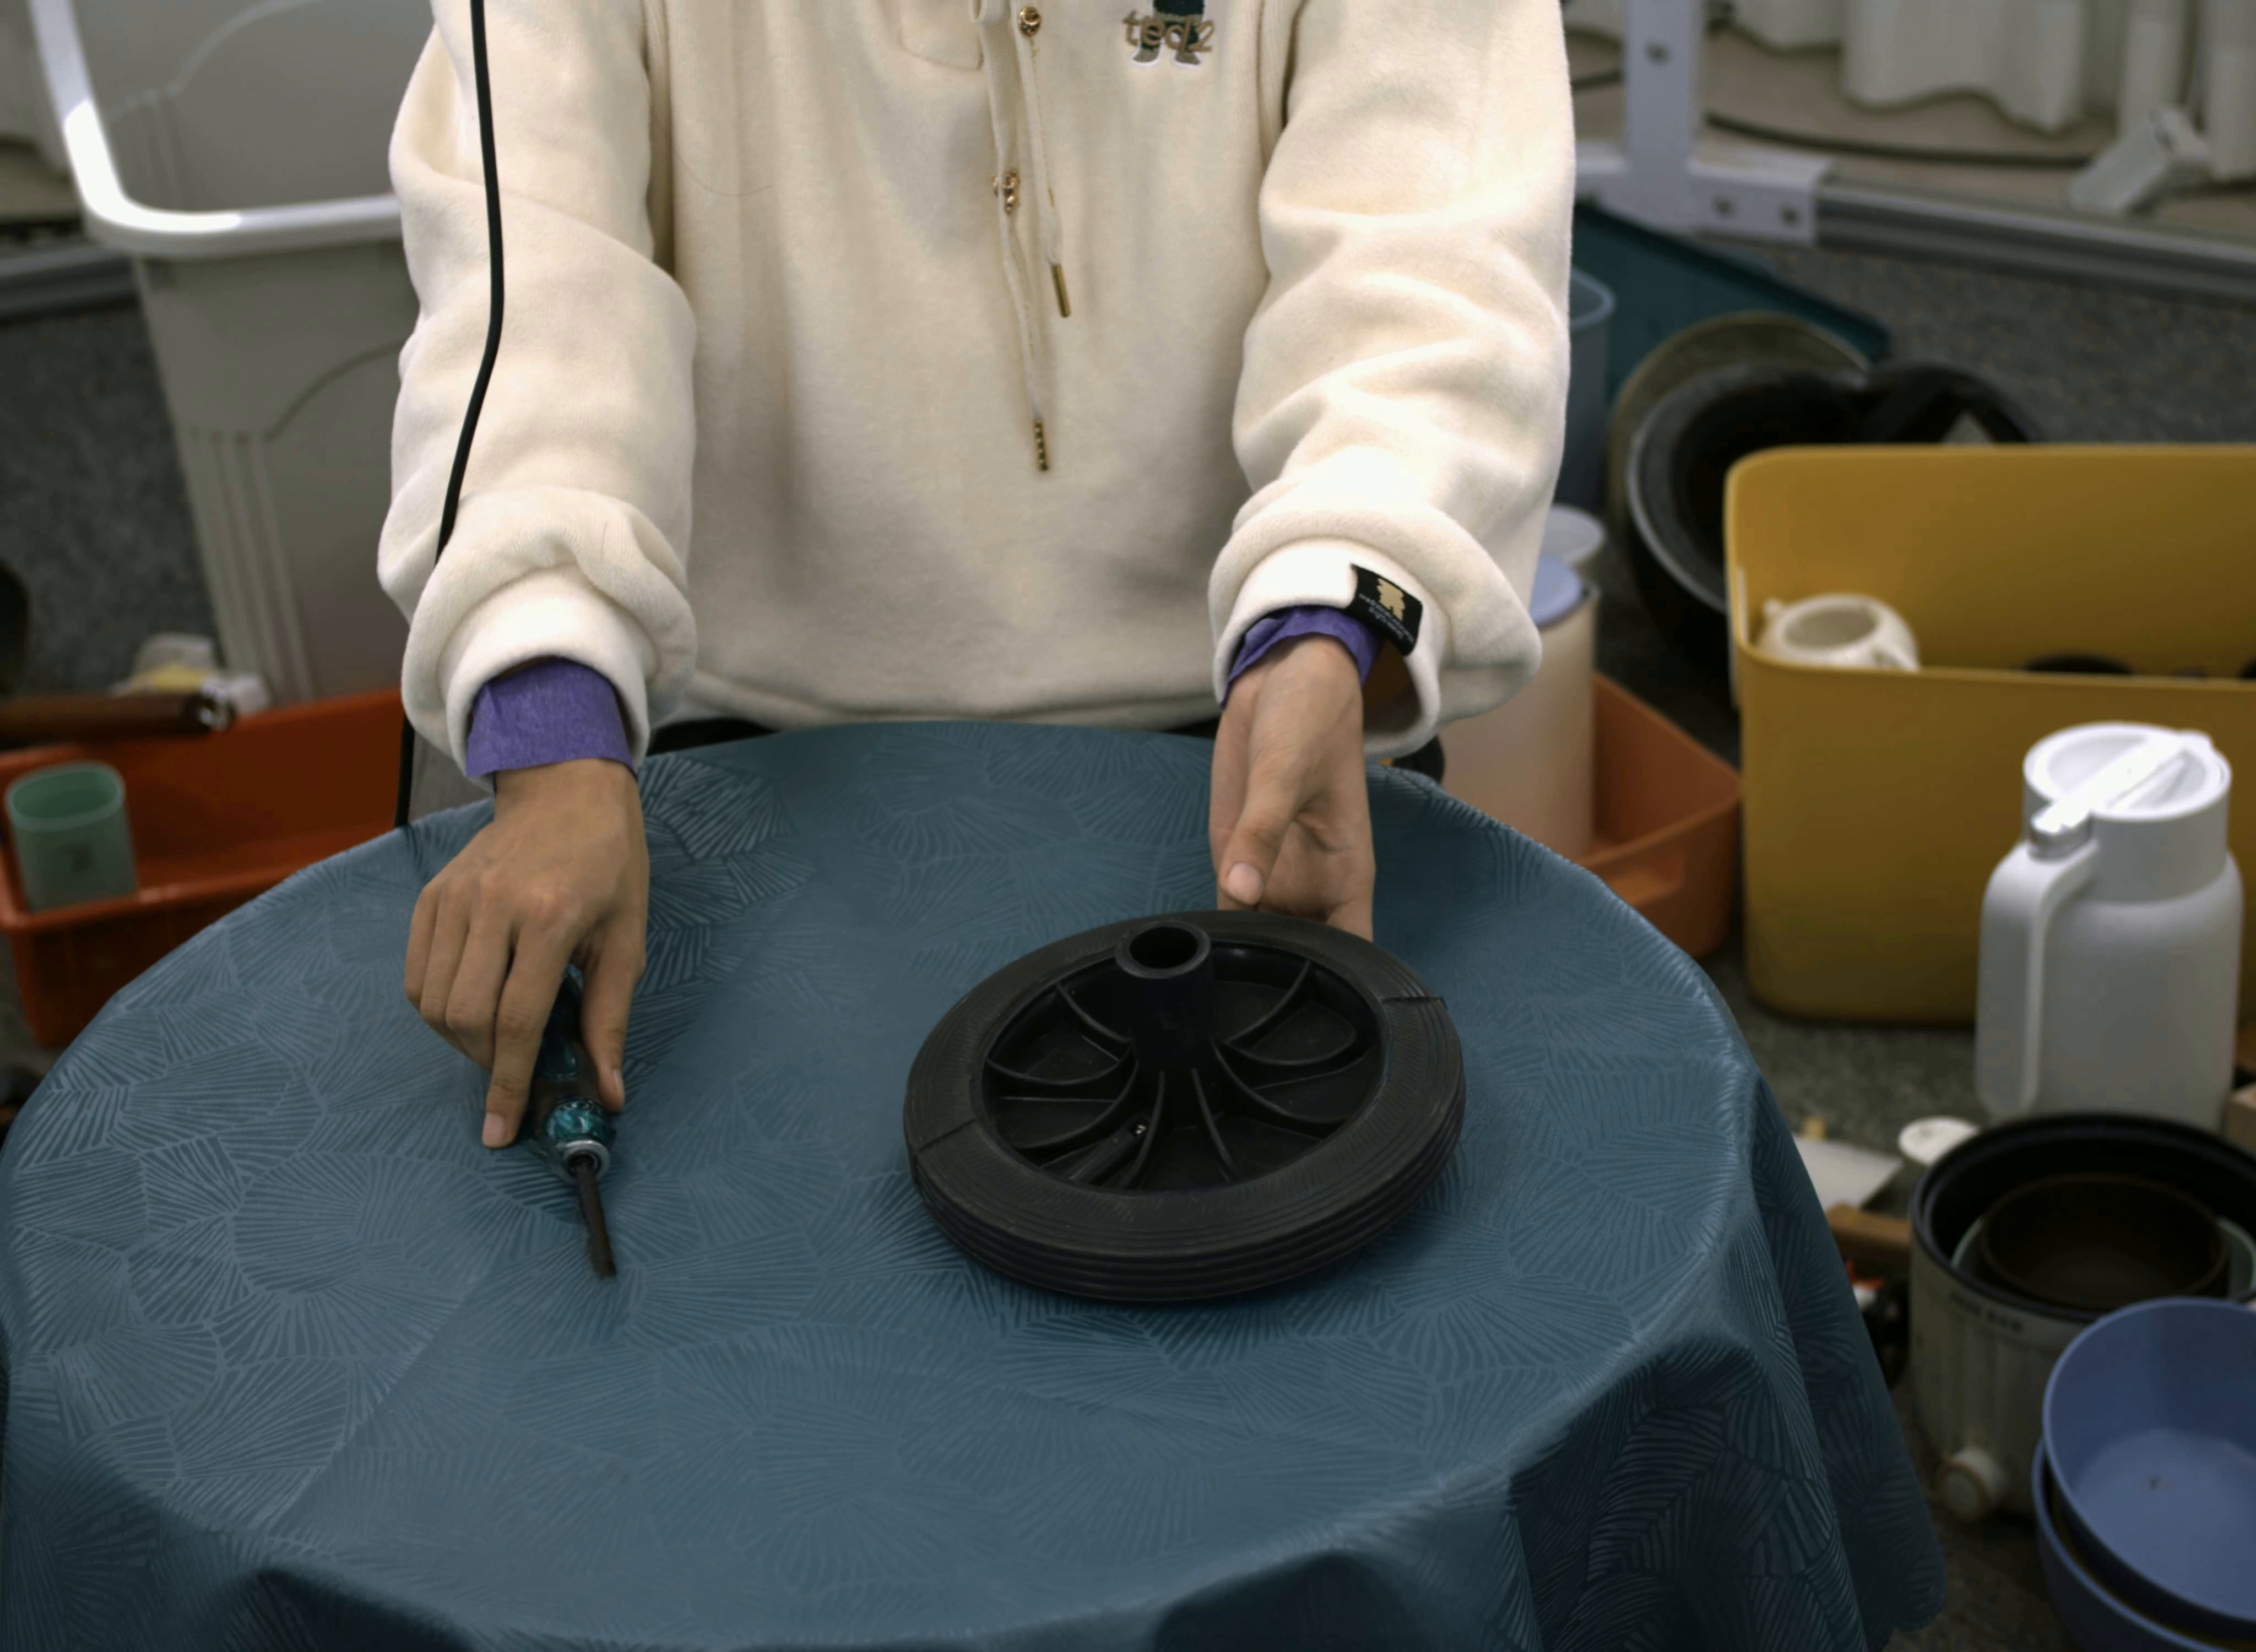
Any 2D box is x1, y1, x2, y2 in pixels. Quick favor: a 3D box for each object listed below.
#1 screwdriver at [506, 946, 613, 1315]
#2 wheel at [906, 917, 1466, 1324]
[{"bbox_3d":[-0.186,0.104,1.887,0.033,0.033,0.193,-7,35,-8],"label":"screwdriver"},{"bbox_3d":[0.016,0.078,1.853,0.186,0.078,0.193,5,38,17],"label":"wheel"}]
